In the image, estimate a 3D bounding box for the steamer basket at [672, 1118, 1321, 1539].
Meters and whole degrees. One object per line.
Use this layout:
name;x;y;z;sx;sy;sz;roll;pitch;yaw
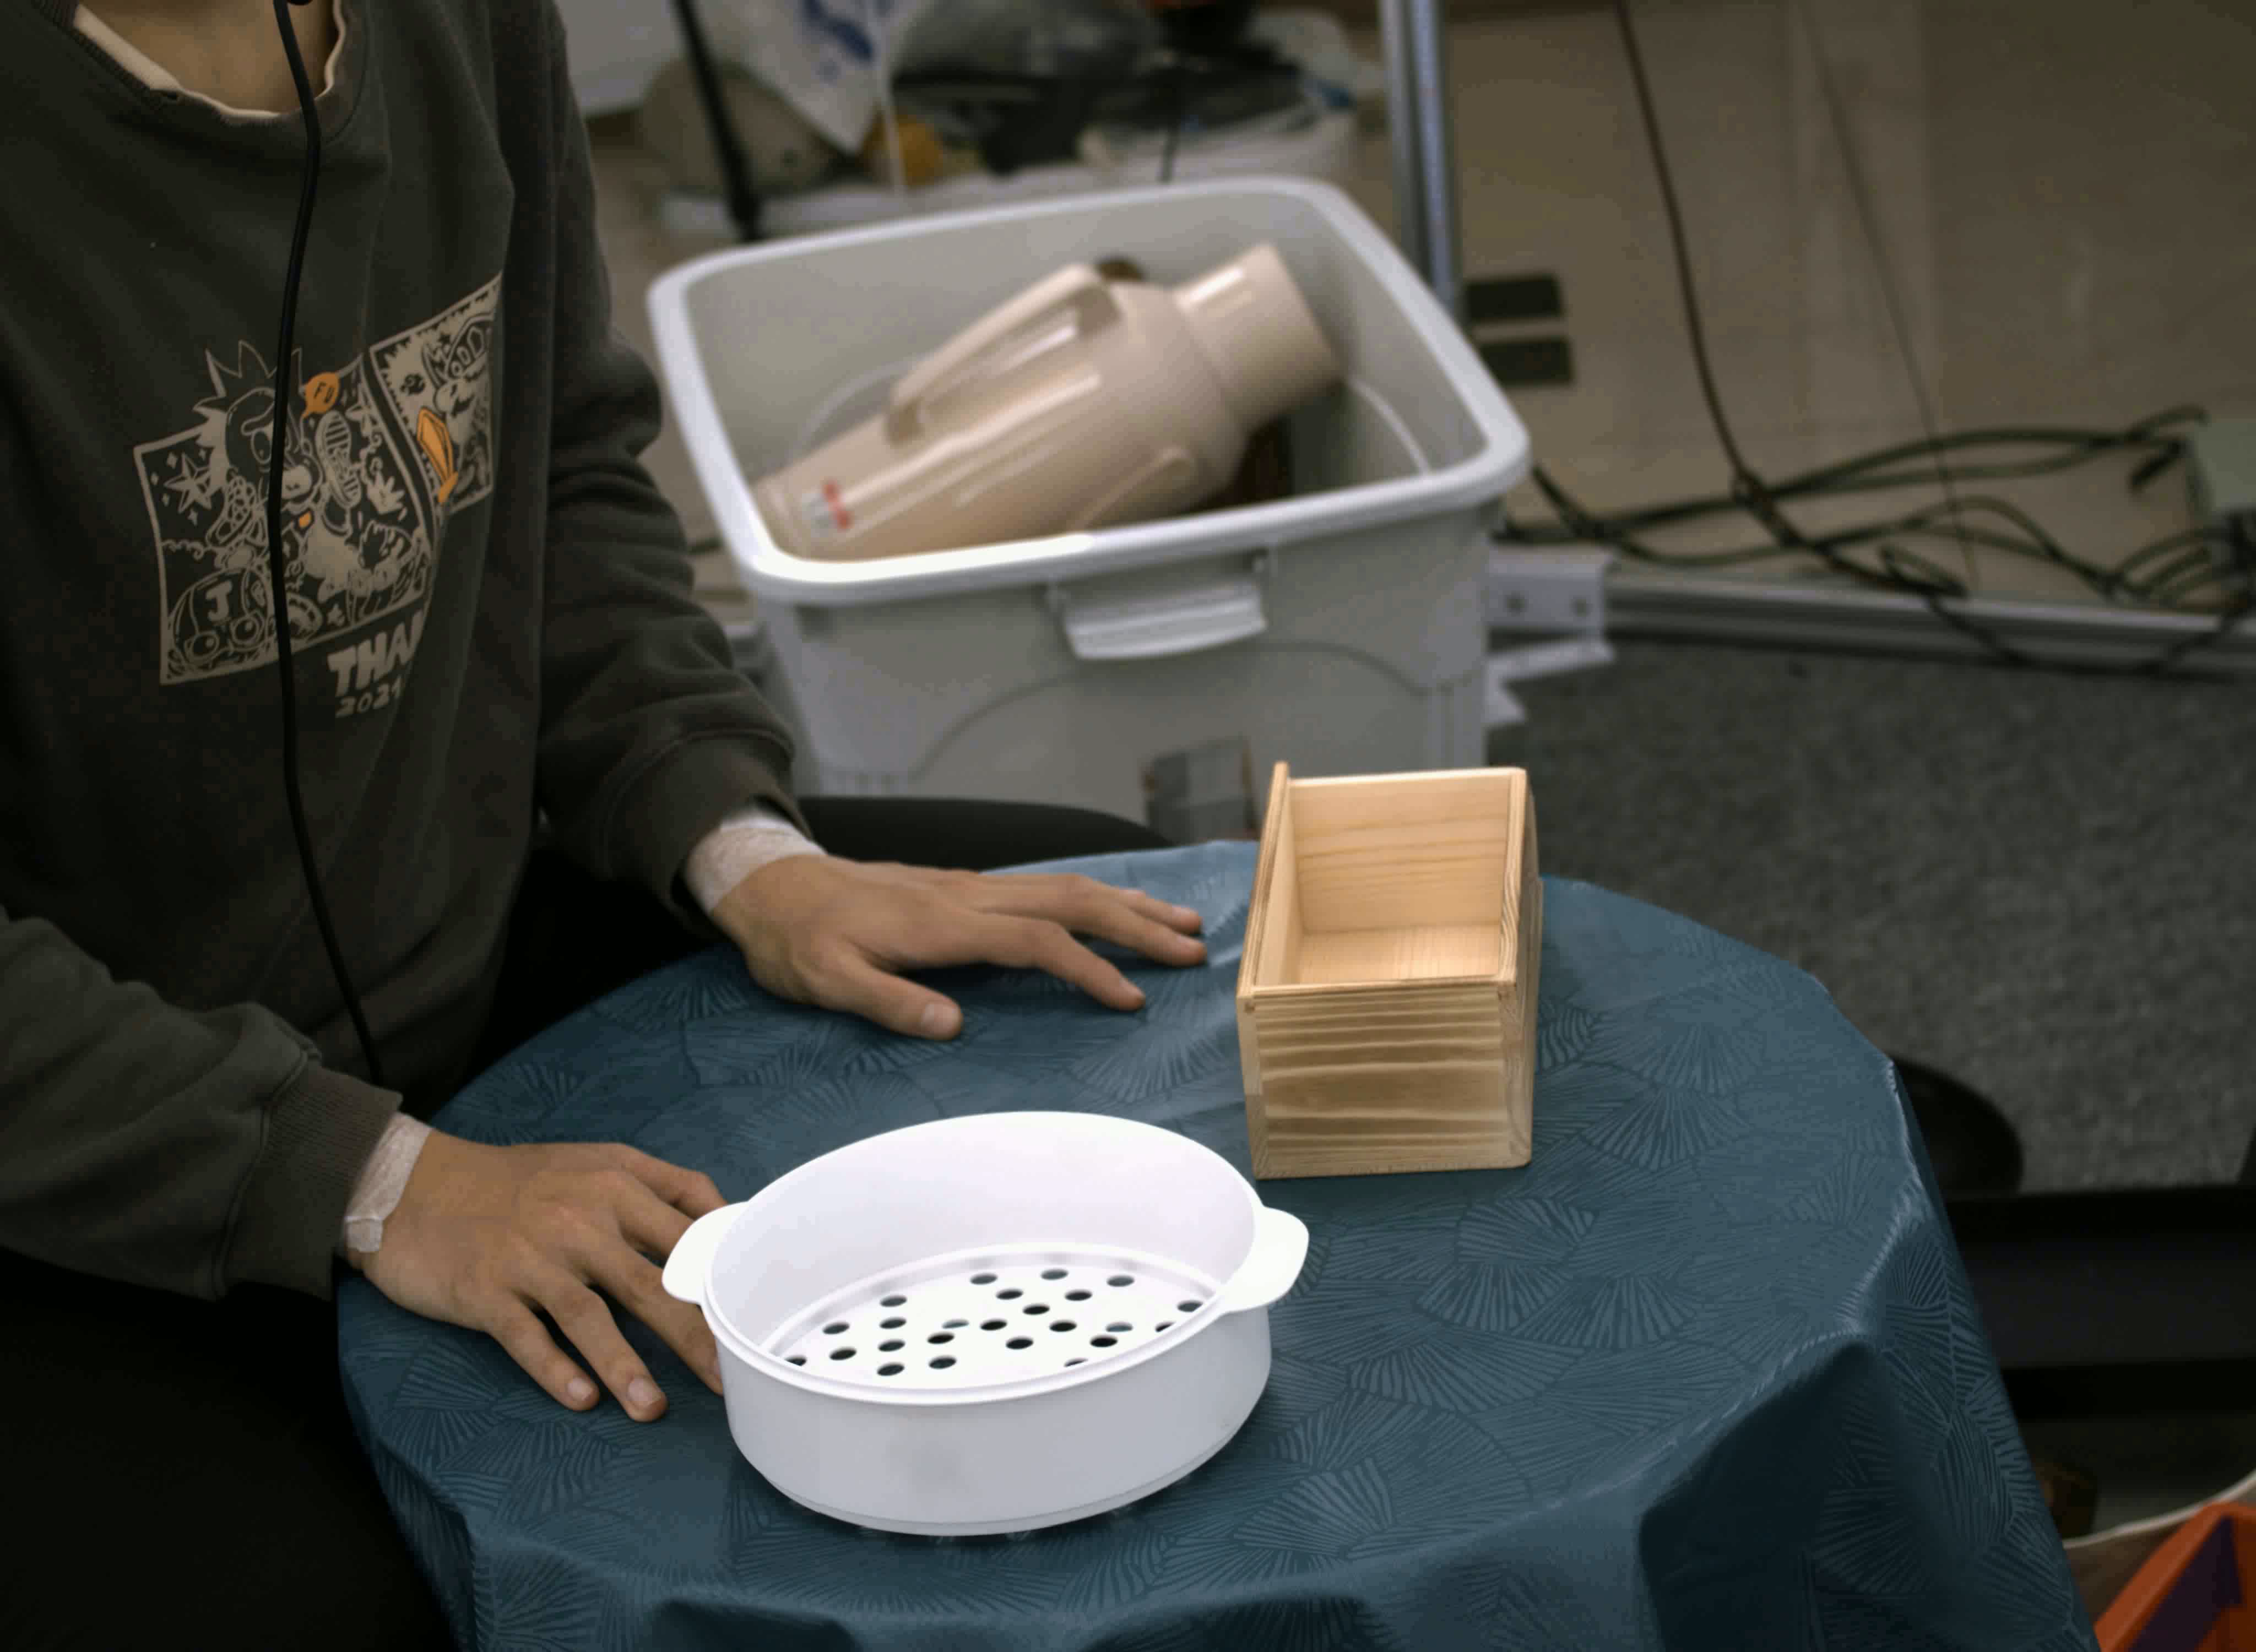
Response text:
steamer basket;-0.044;0.176;1.997;0.230;0.070;0.199;-1;24;14

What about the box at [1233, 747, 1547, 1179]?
box;0.105;0.051;2.212;0.107;0.081;0.208;-4;25;7
